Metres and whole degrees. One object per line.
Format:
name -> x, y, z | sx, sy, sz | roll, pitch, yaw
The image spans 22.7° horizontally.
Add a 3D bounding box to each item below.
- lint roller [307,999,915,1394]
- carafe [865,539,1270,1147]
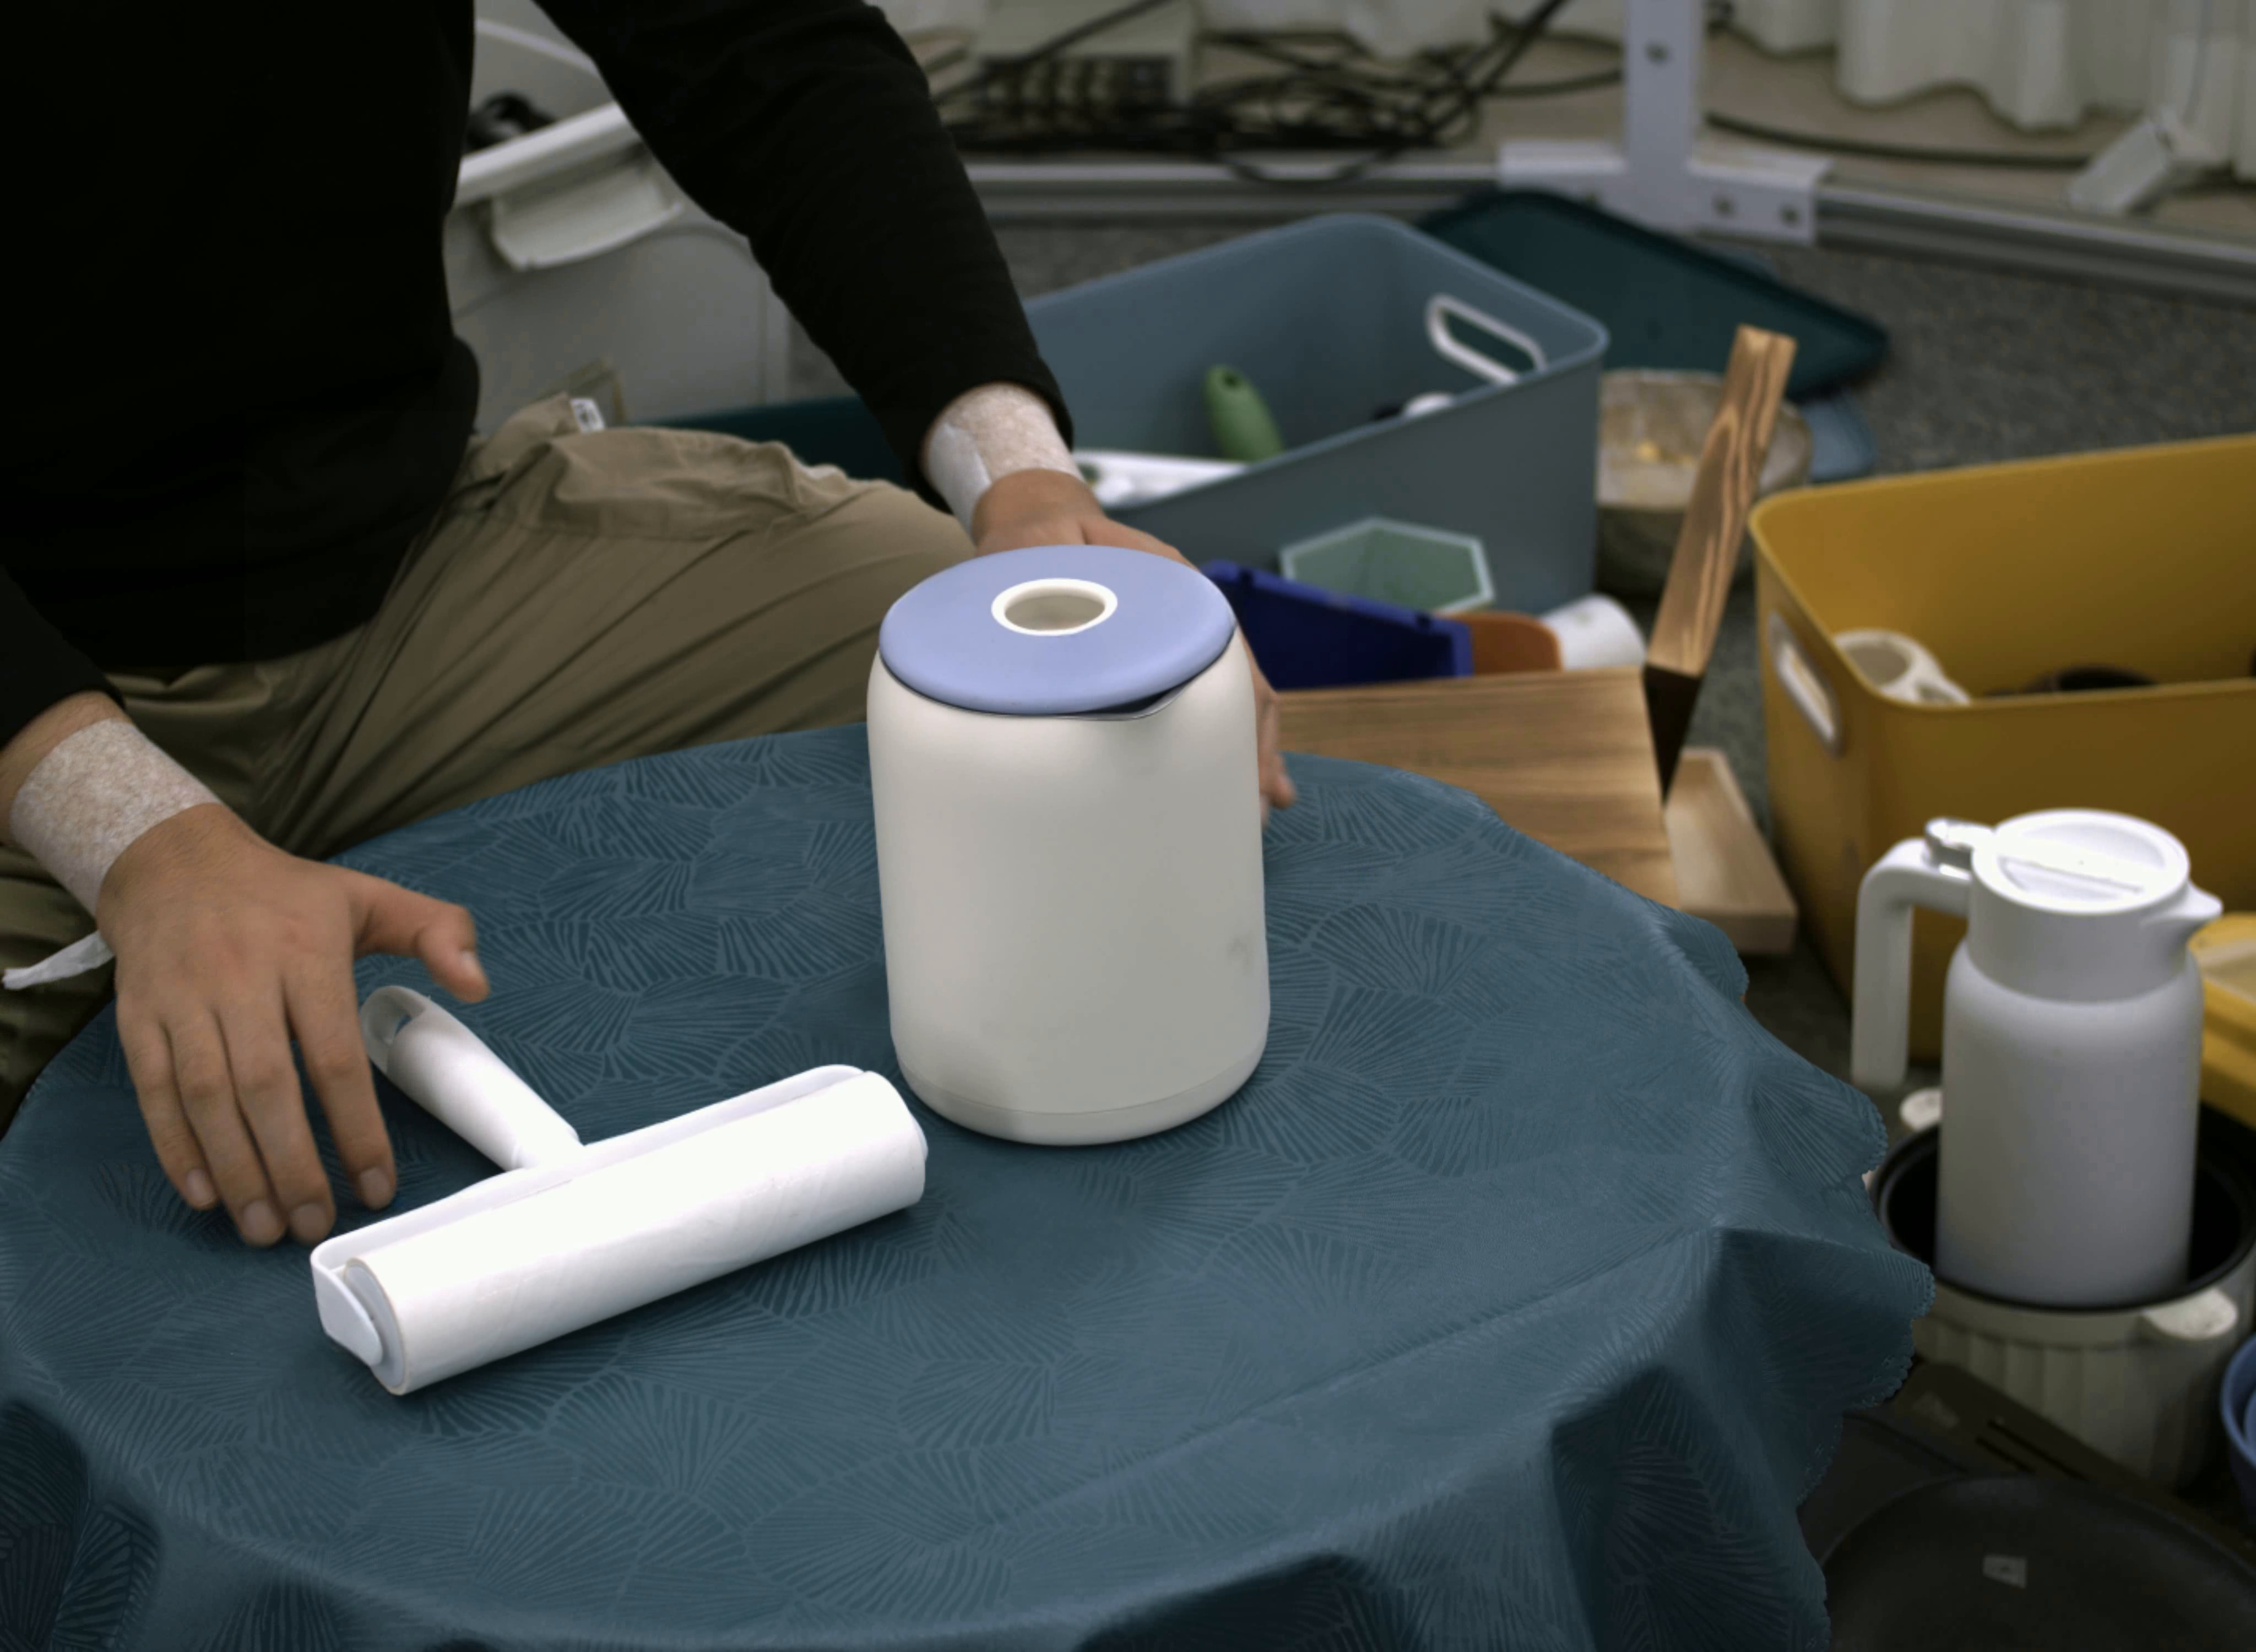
lint roller -> -0.207, 0.099, 1.880 | 0.204, 0.048, 0.226 | -20, 31, -27
carafe -> -0.031, -0.004, 1.923 | 0.133, 0.181, 0.192 | -15, 27, -23
